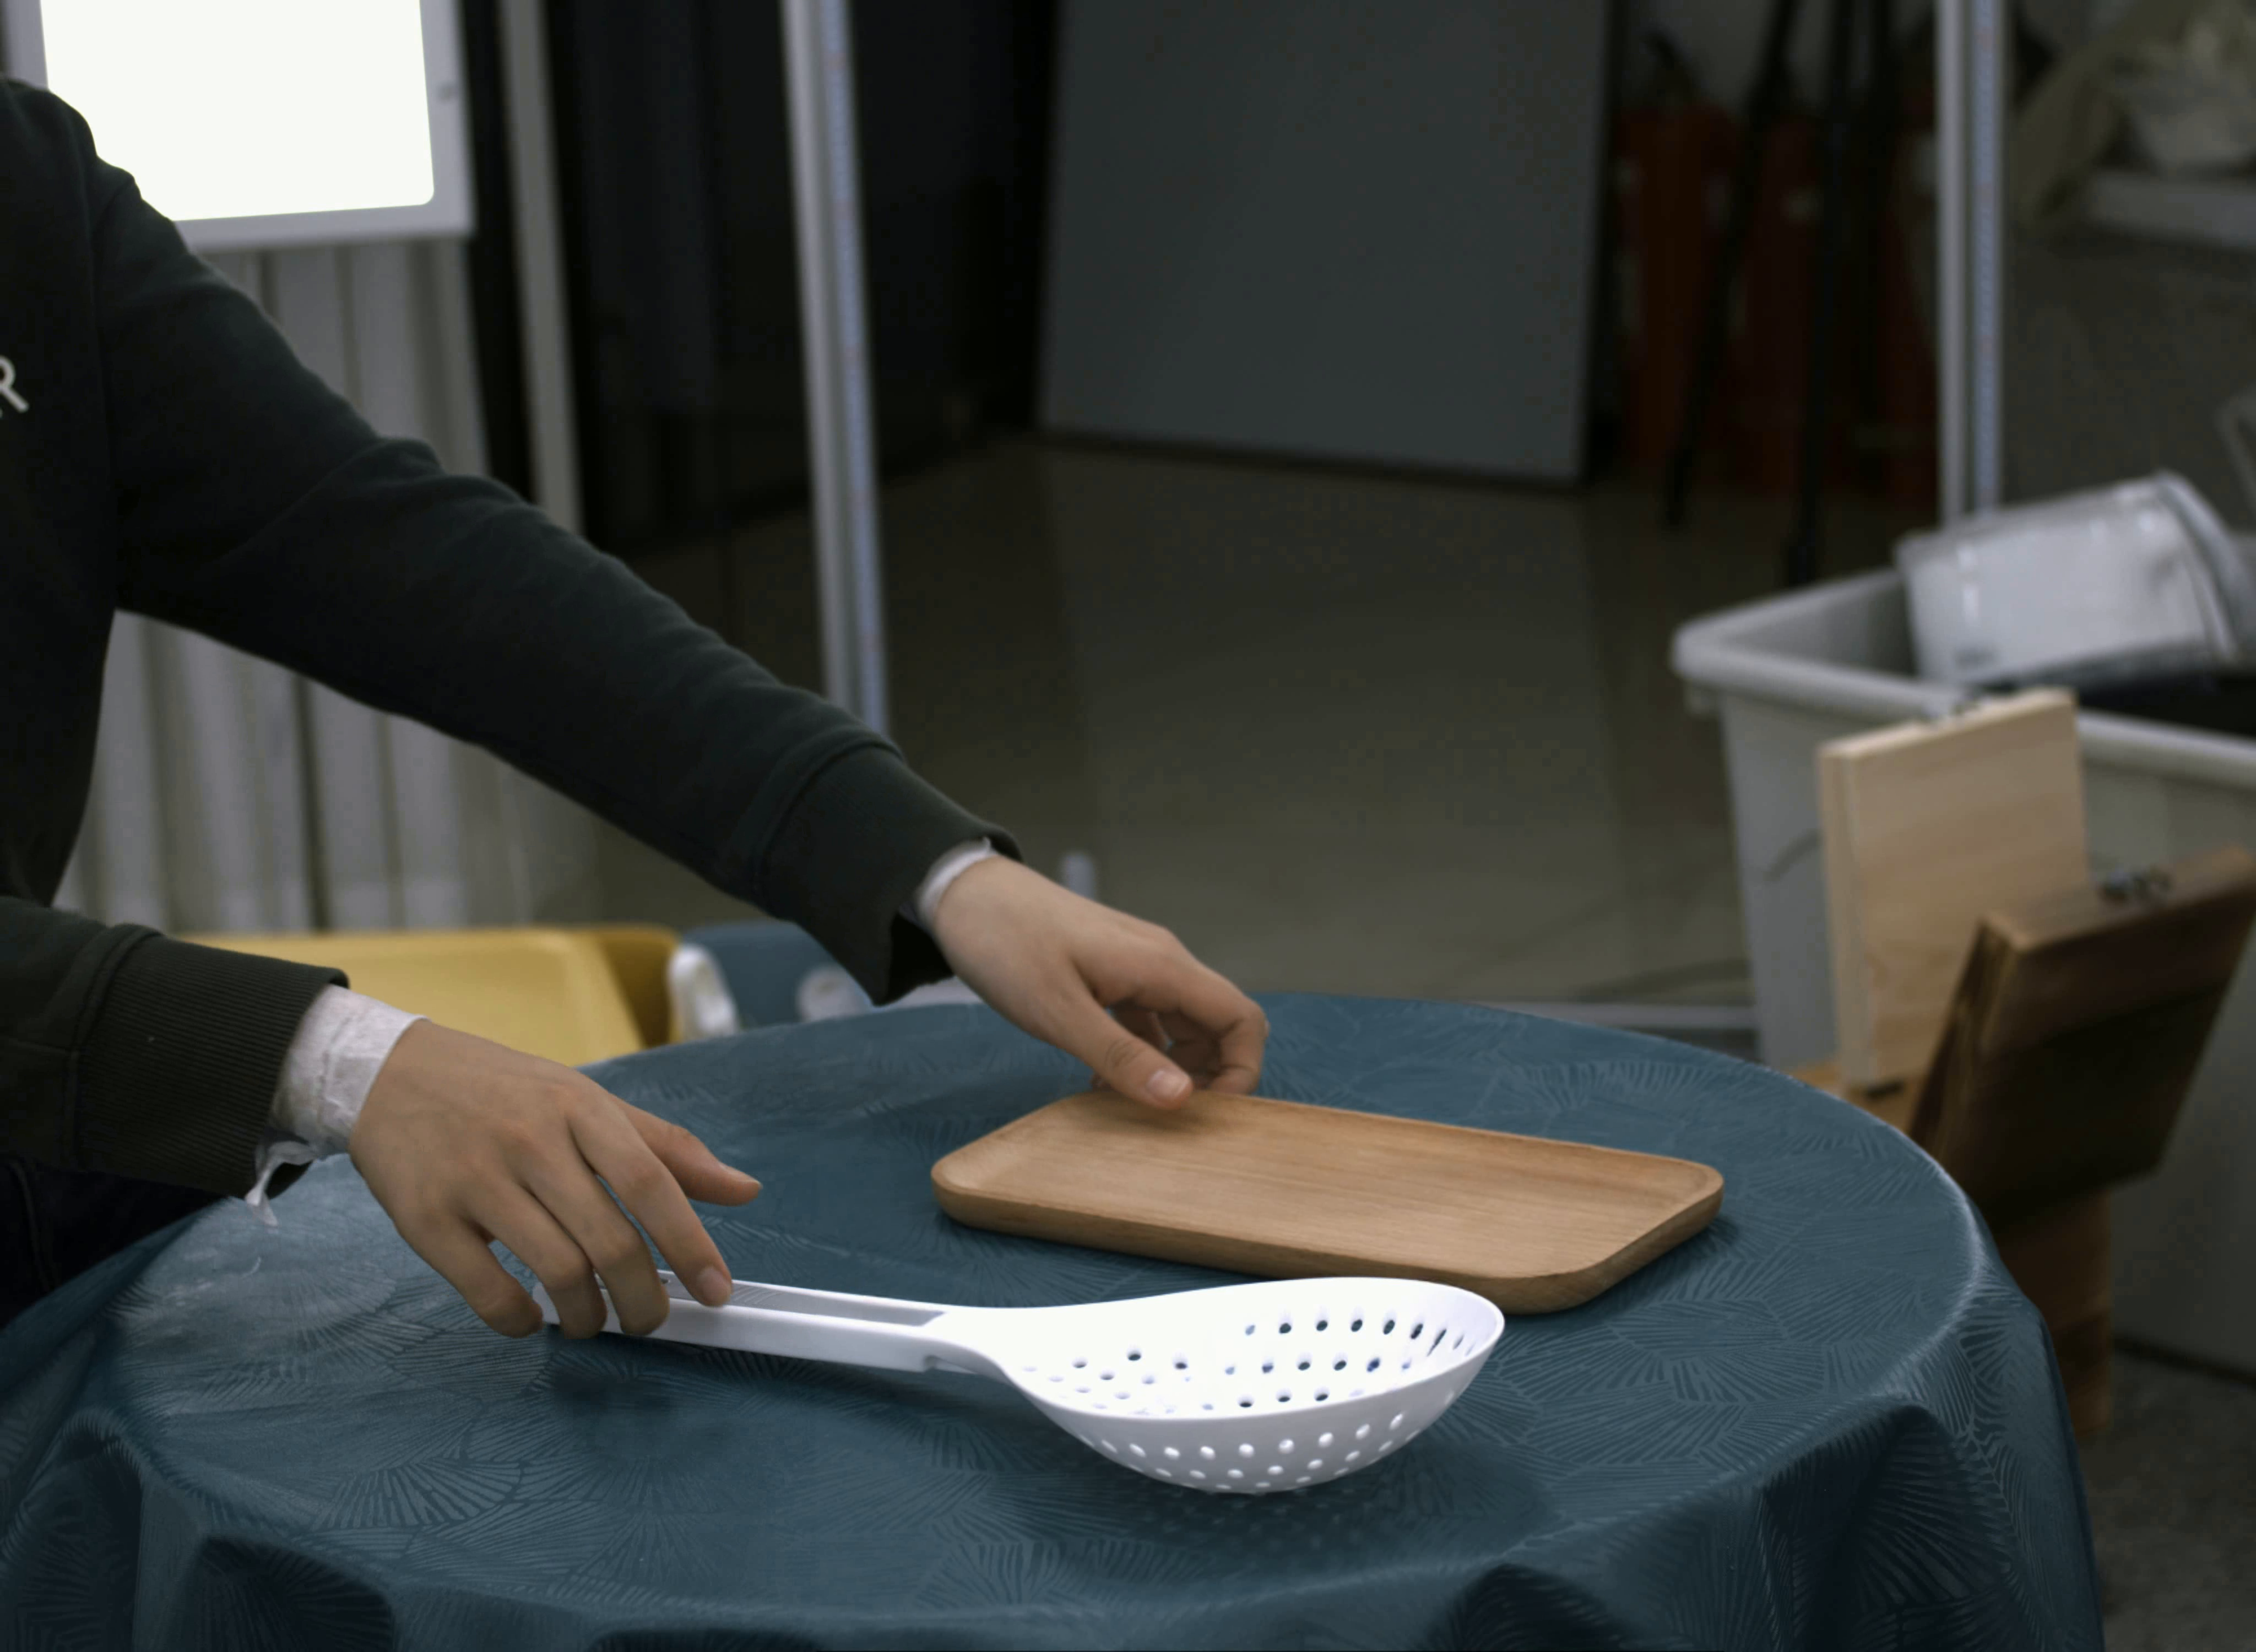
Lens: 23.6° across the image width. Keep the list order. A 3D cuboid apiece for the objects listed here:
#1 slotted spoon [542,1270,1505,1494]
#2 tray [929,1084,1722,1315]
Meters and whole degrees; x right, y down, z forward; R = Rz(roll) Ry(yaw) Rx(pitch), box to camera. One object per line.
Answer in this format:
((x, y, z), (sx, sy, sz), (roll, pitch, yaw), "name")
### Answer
((-0.043, 0.150, 1.572), (0.352, 0.046, 0.133), (7, 15, 40), "slotted spoon")
((0.062, 0.118, 1.730), (0.252, 0.023, 0.128), (5, 15, 36), "tray")
